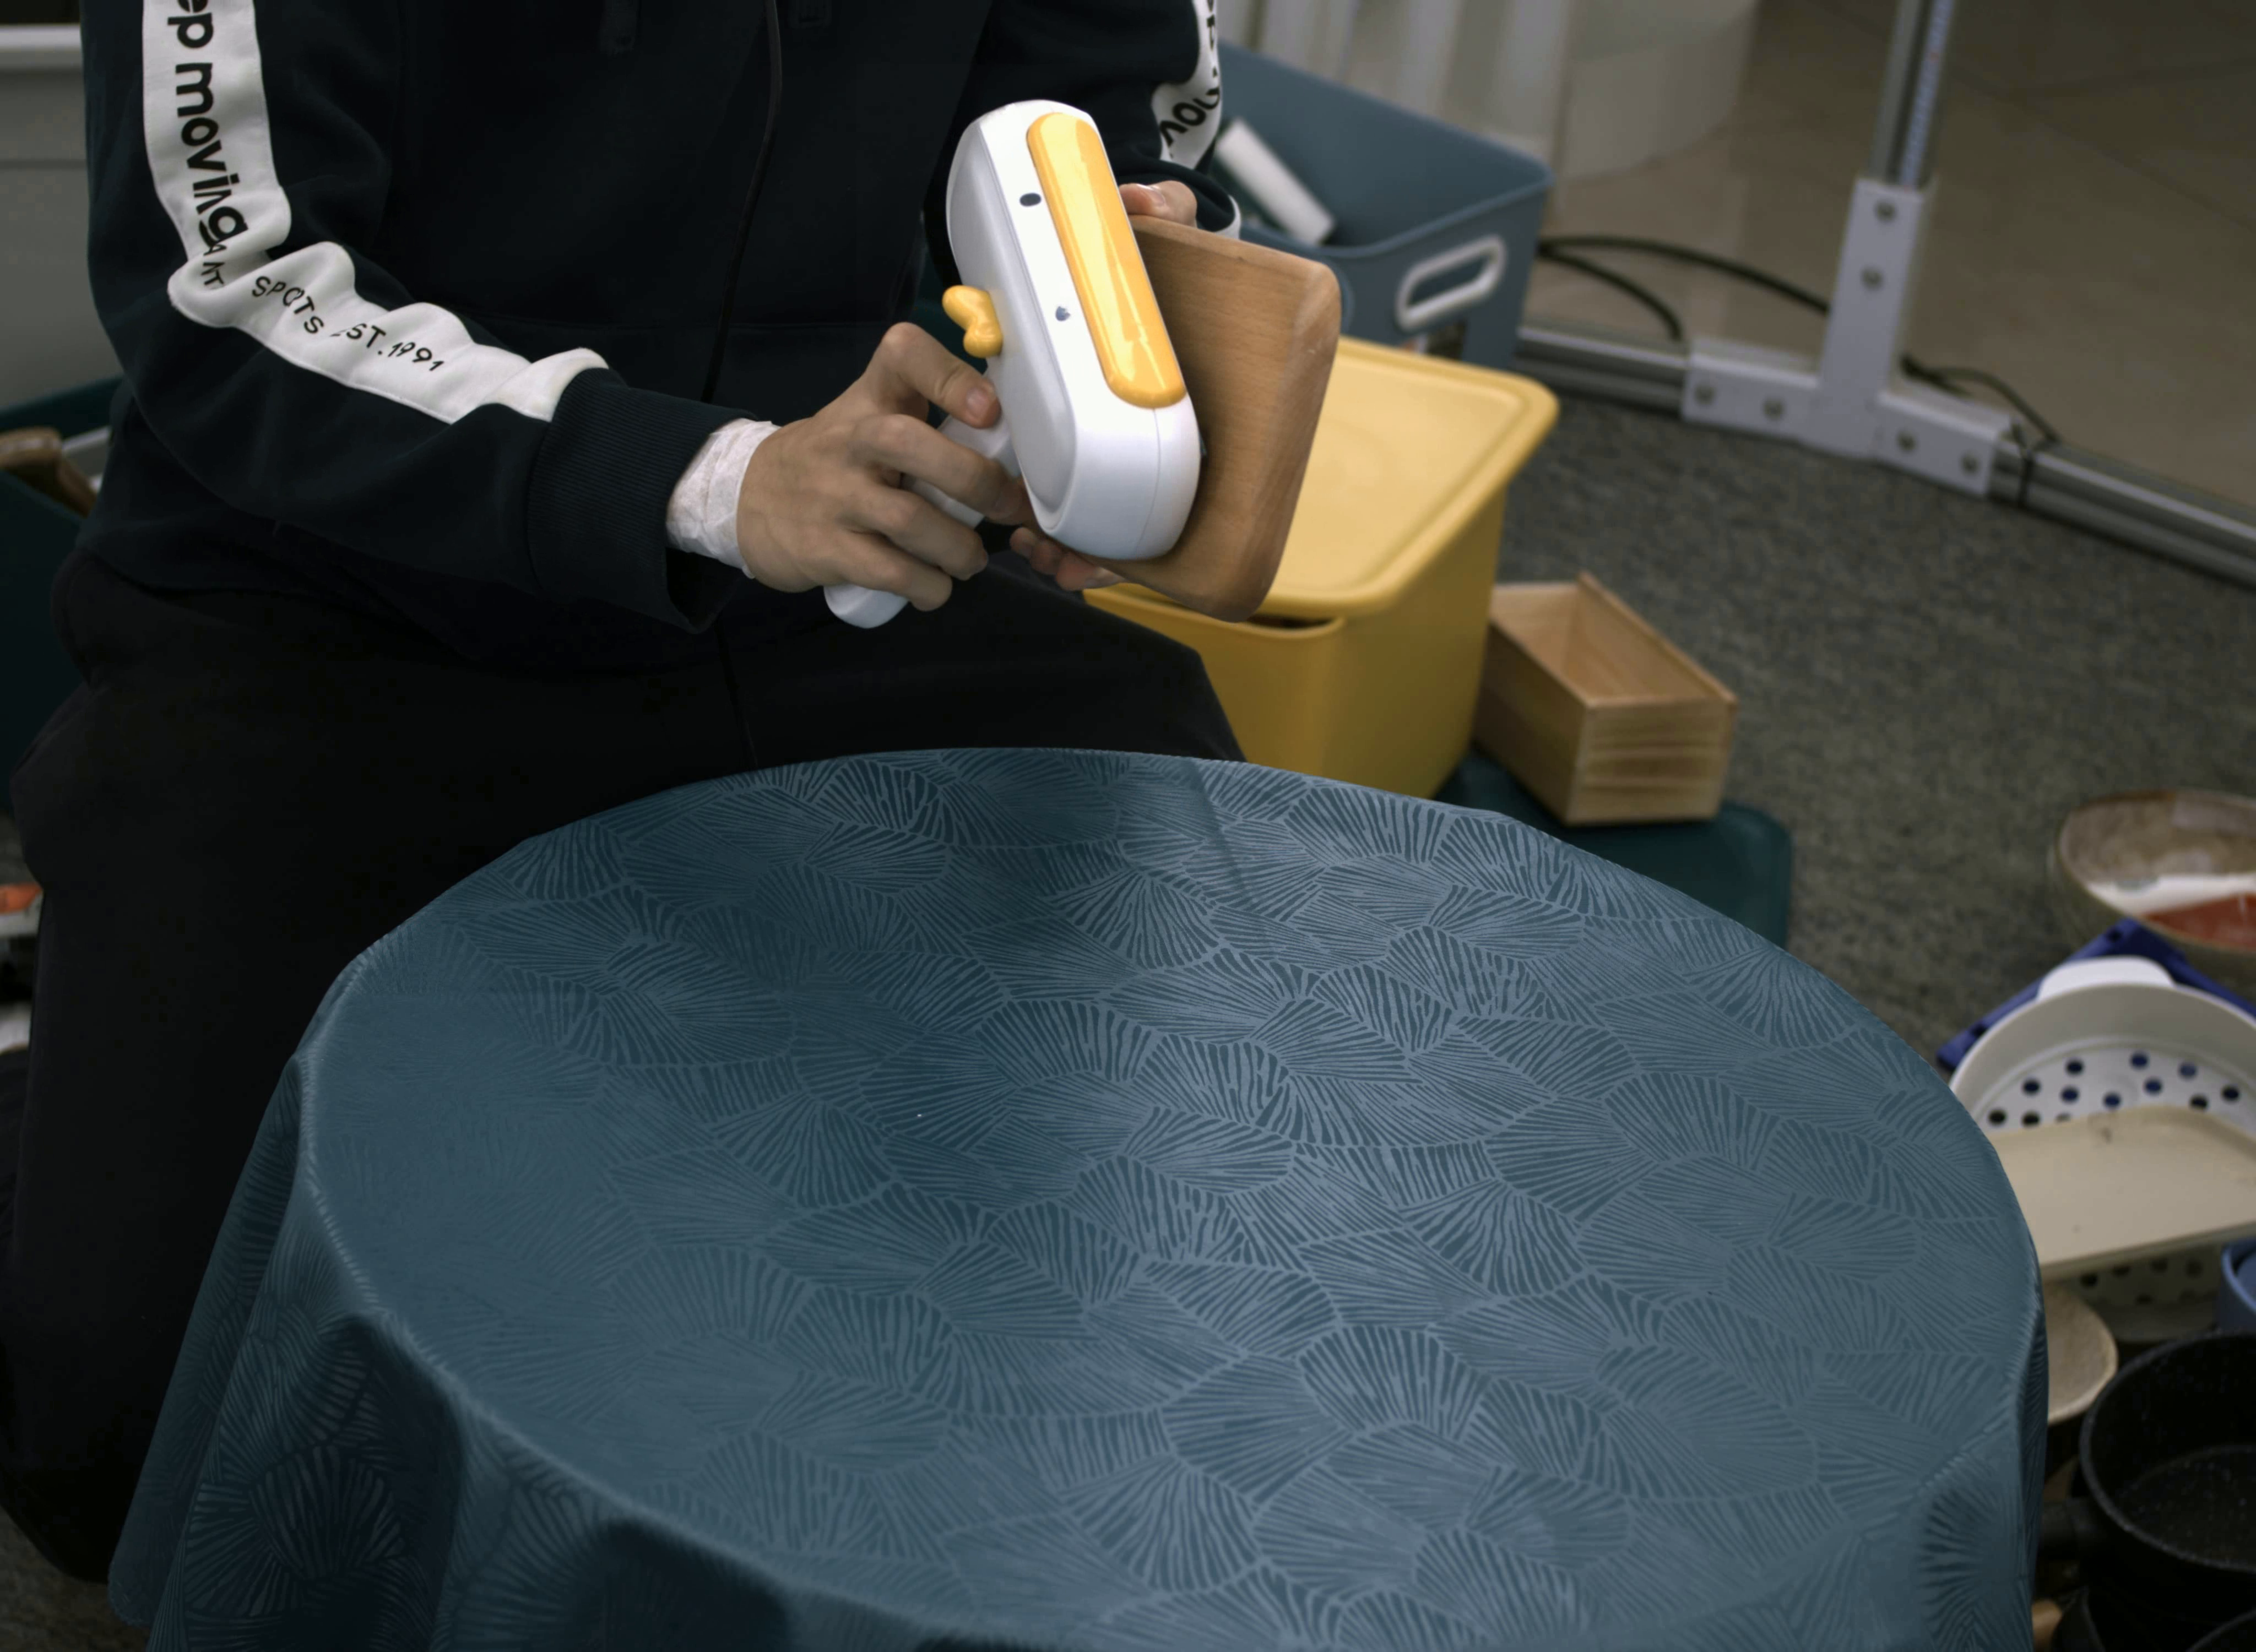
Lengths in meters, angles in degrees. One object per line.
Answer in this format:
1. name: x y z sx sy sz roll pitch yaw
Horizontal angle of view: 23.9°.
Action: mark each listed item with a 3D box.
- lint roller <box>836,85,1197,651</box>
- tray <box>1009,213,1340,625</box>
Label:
1. lint roller: -0.049 -0.141 1.906 0.073 0.192 0.195 1 44 -28
2. tray: 0.012 -0.149 1.897 0.023 0.131 0.252 15 4 -23
